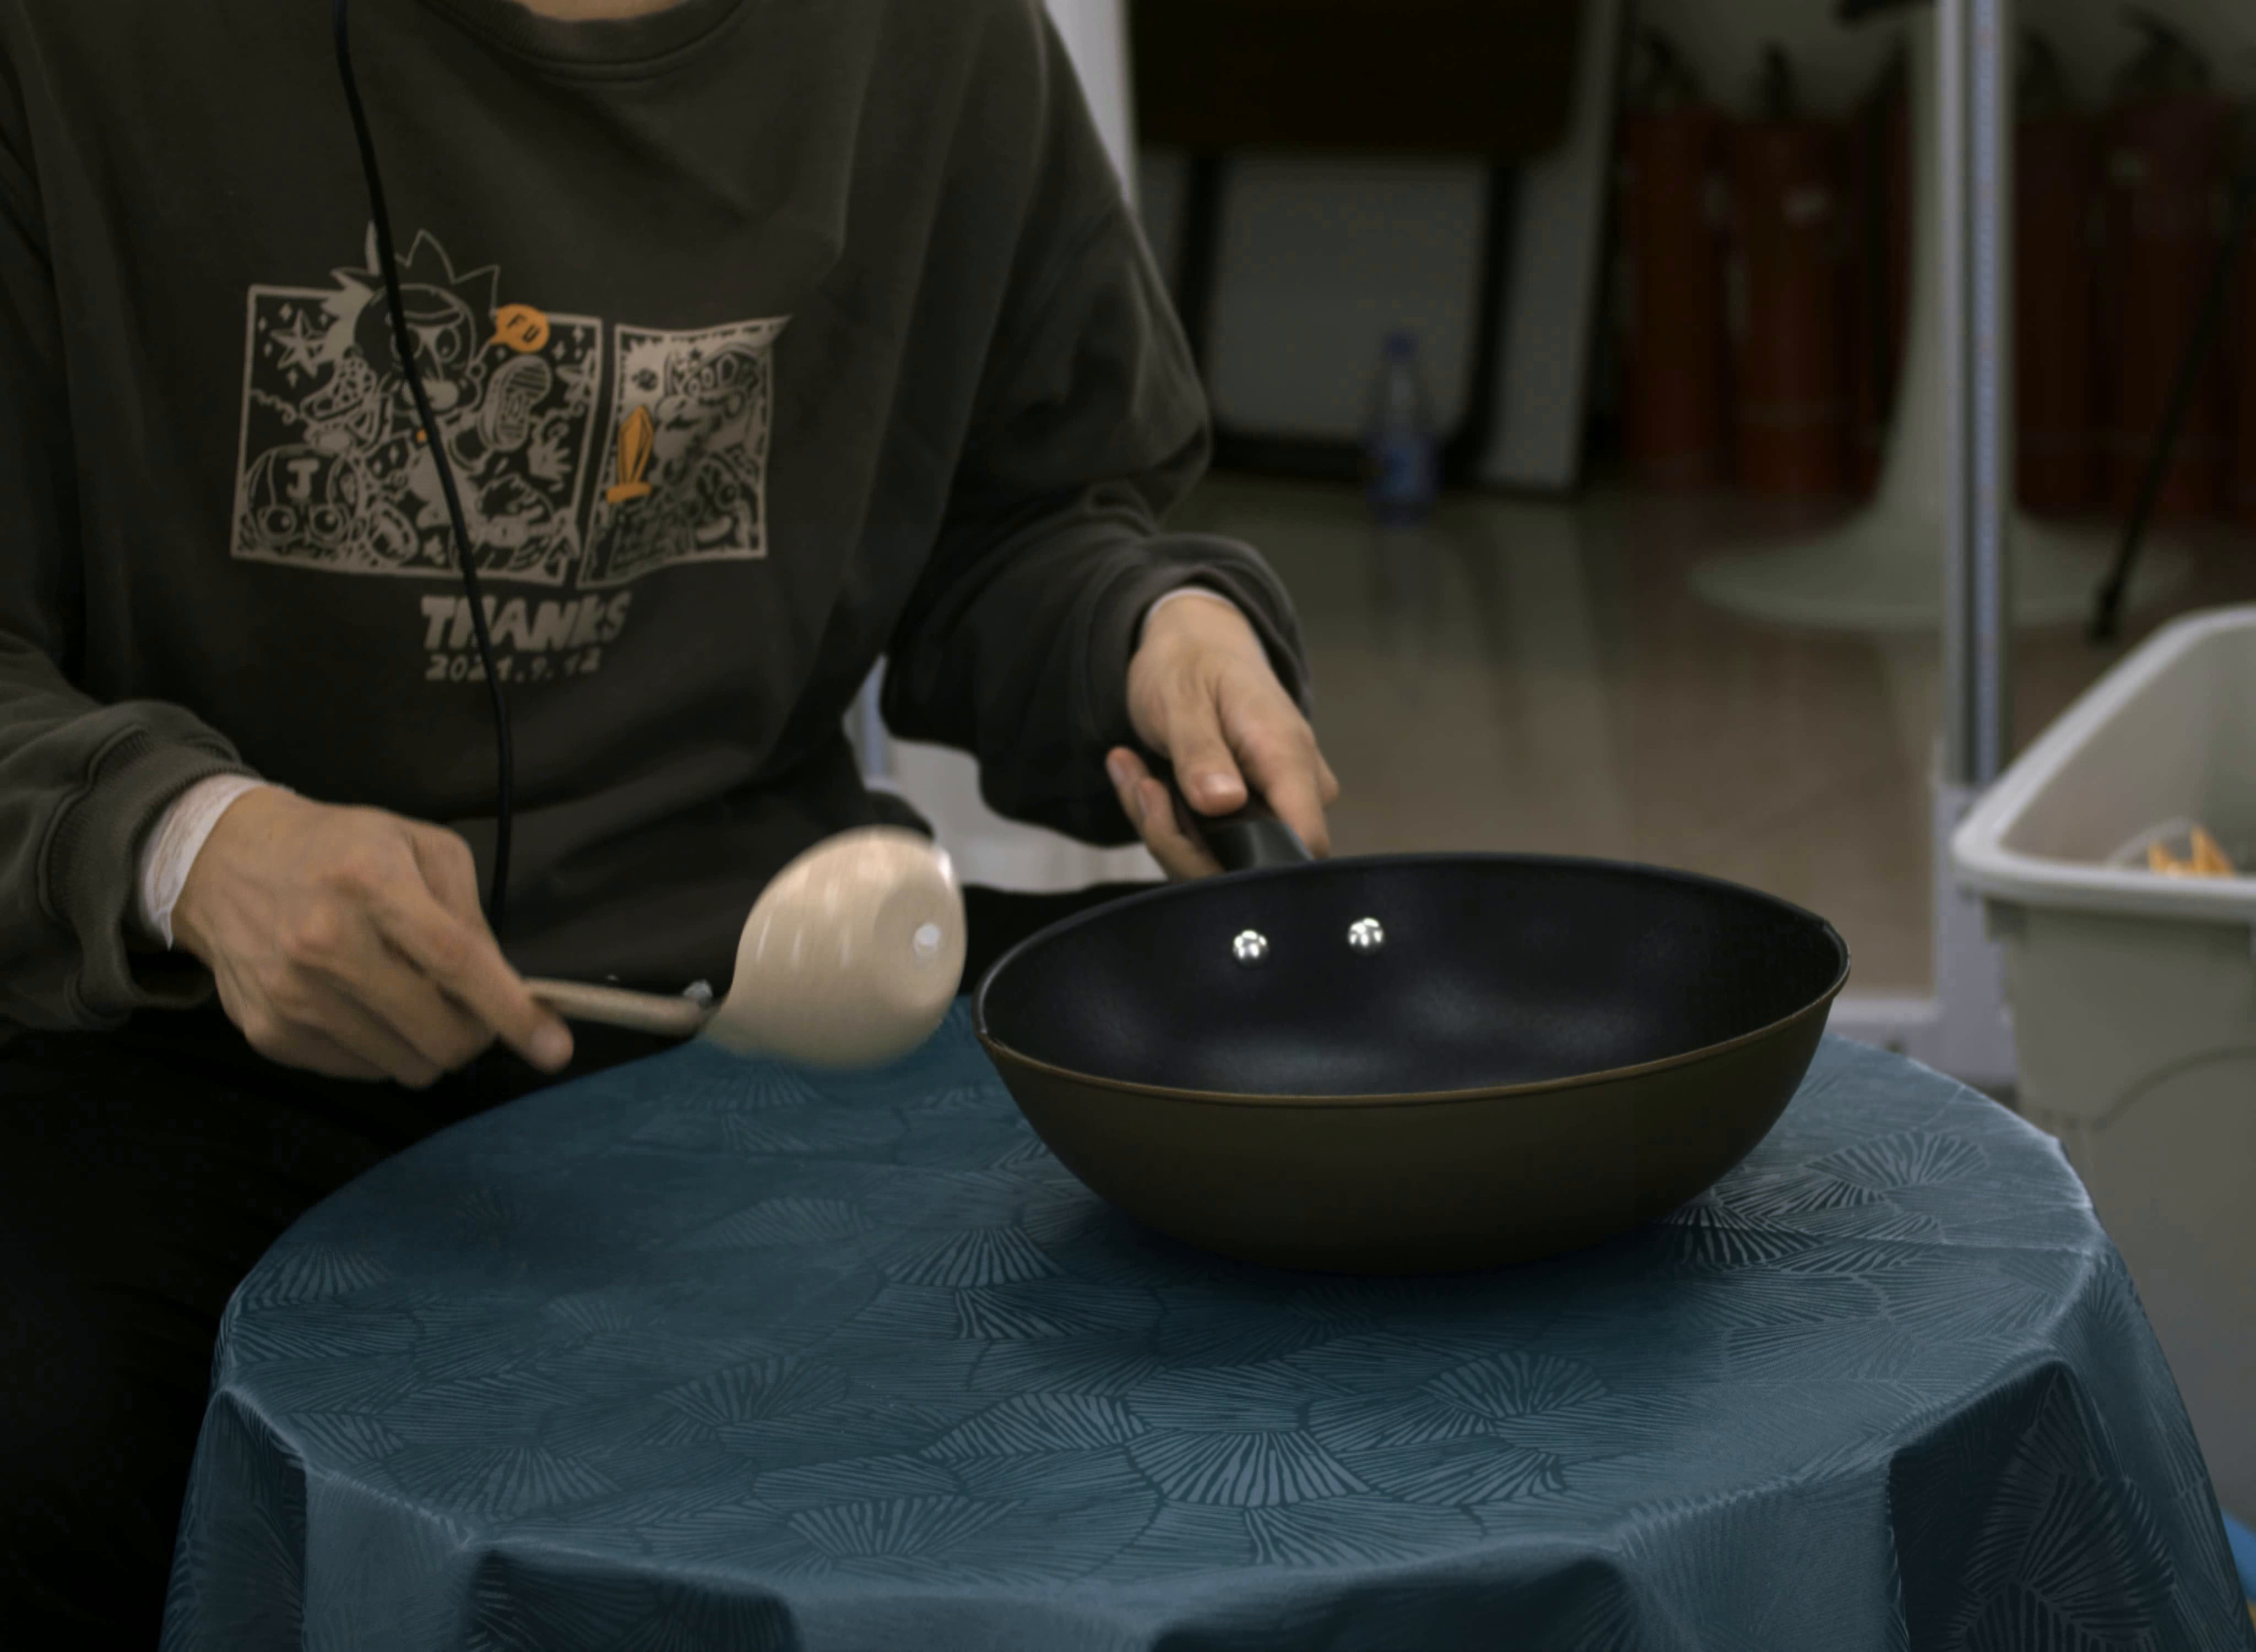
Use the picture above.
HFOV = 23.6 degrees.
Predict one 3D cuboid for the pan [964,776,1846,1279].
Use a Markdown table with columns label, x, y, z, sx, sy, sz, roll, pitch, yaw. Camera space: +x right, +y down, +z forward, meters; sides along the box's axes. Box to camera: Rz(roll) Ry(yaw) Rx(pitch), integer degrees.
| label | x | y | z | sx | sy | sz | roll | pitch | yaw |
| --- | --- | --- | --- | --- | --- | --- | --- | --- | --- |
| pan | 0.070 | 0.065 | 1.814 | 0.283 | 0.088 | 0.466 | -7 | 13 | -11 |

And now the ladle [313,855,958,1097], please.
| label | x | y | z | sx | sy | sz | roll | pitch | yaw |
| --- | --- | --- | --- | --- | --- | --- | --- | --- | --- |
| ladle | -0.154 | 0.037 | 1.668 | 0.257 | 0.073 | 0.071 | 6 | -29 | 44 |
